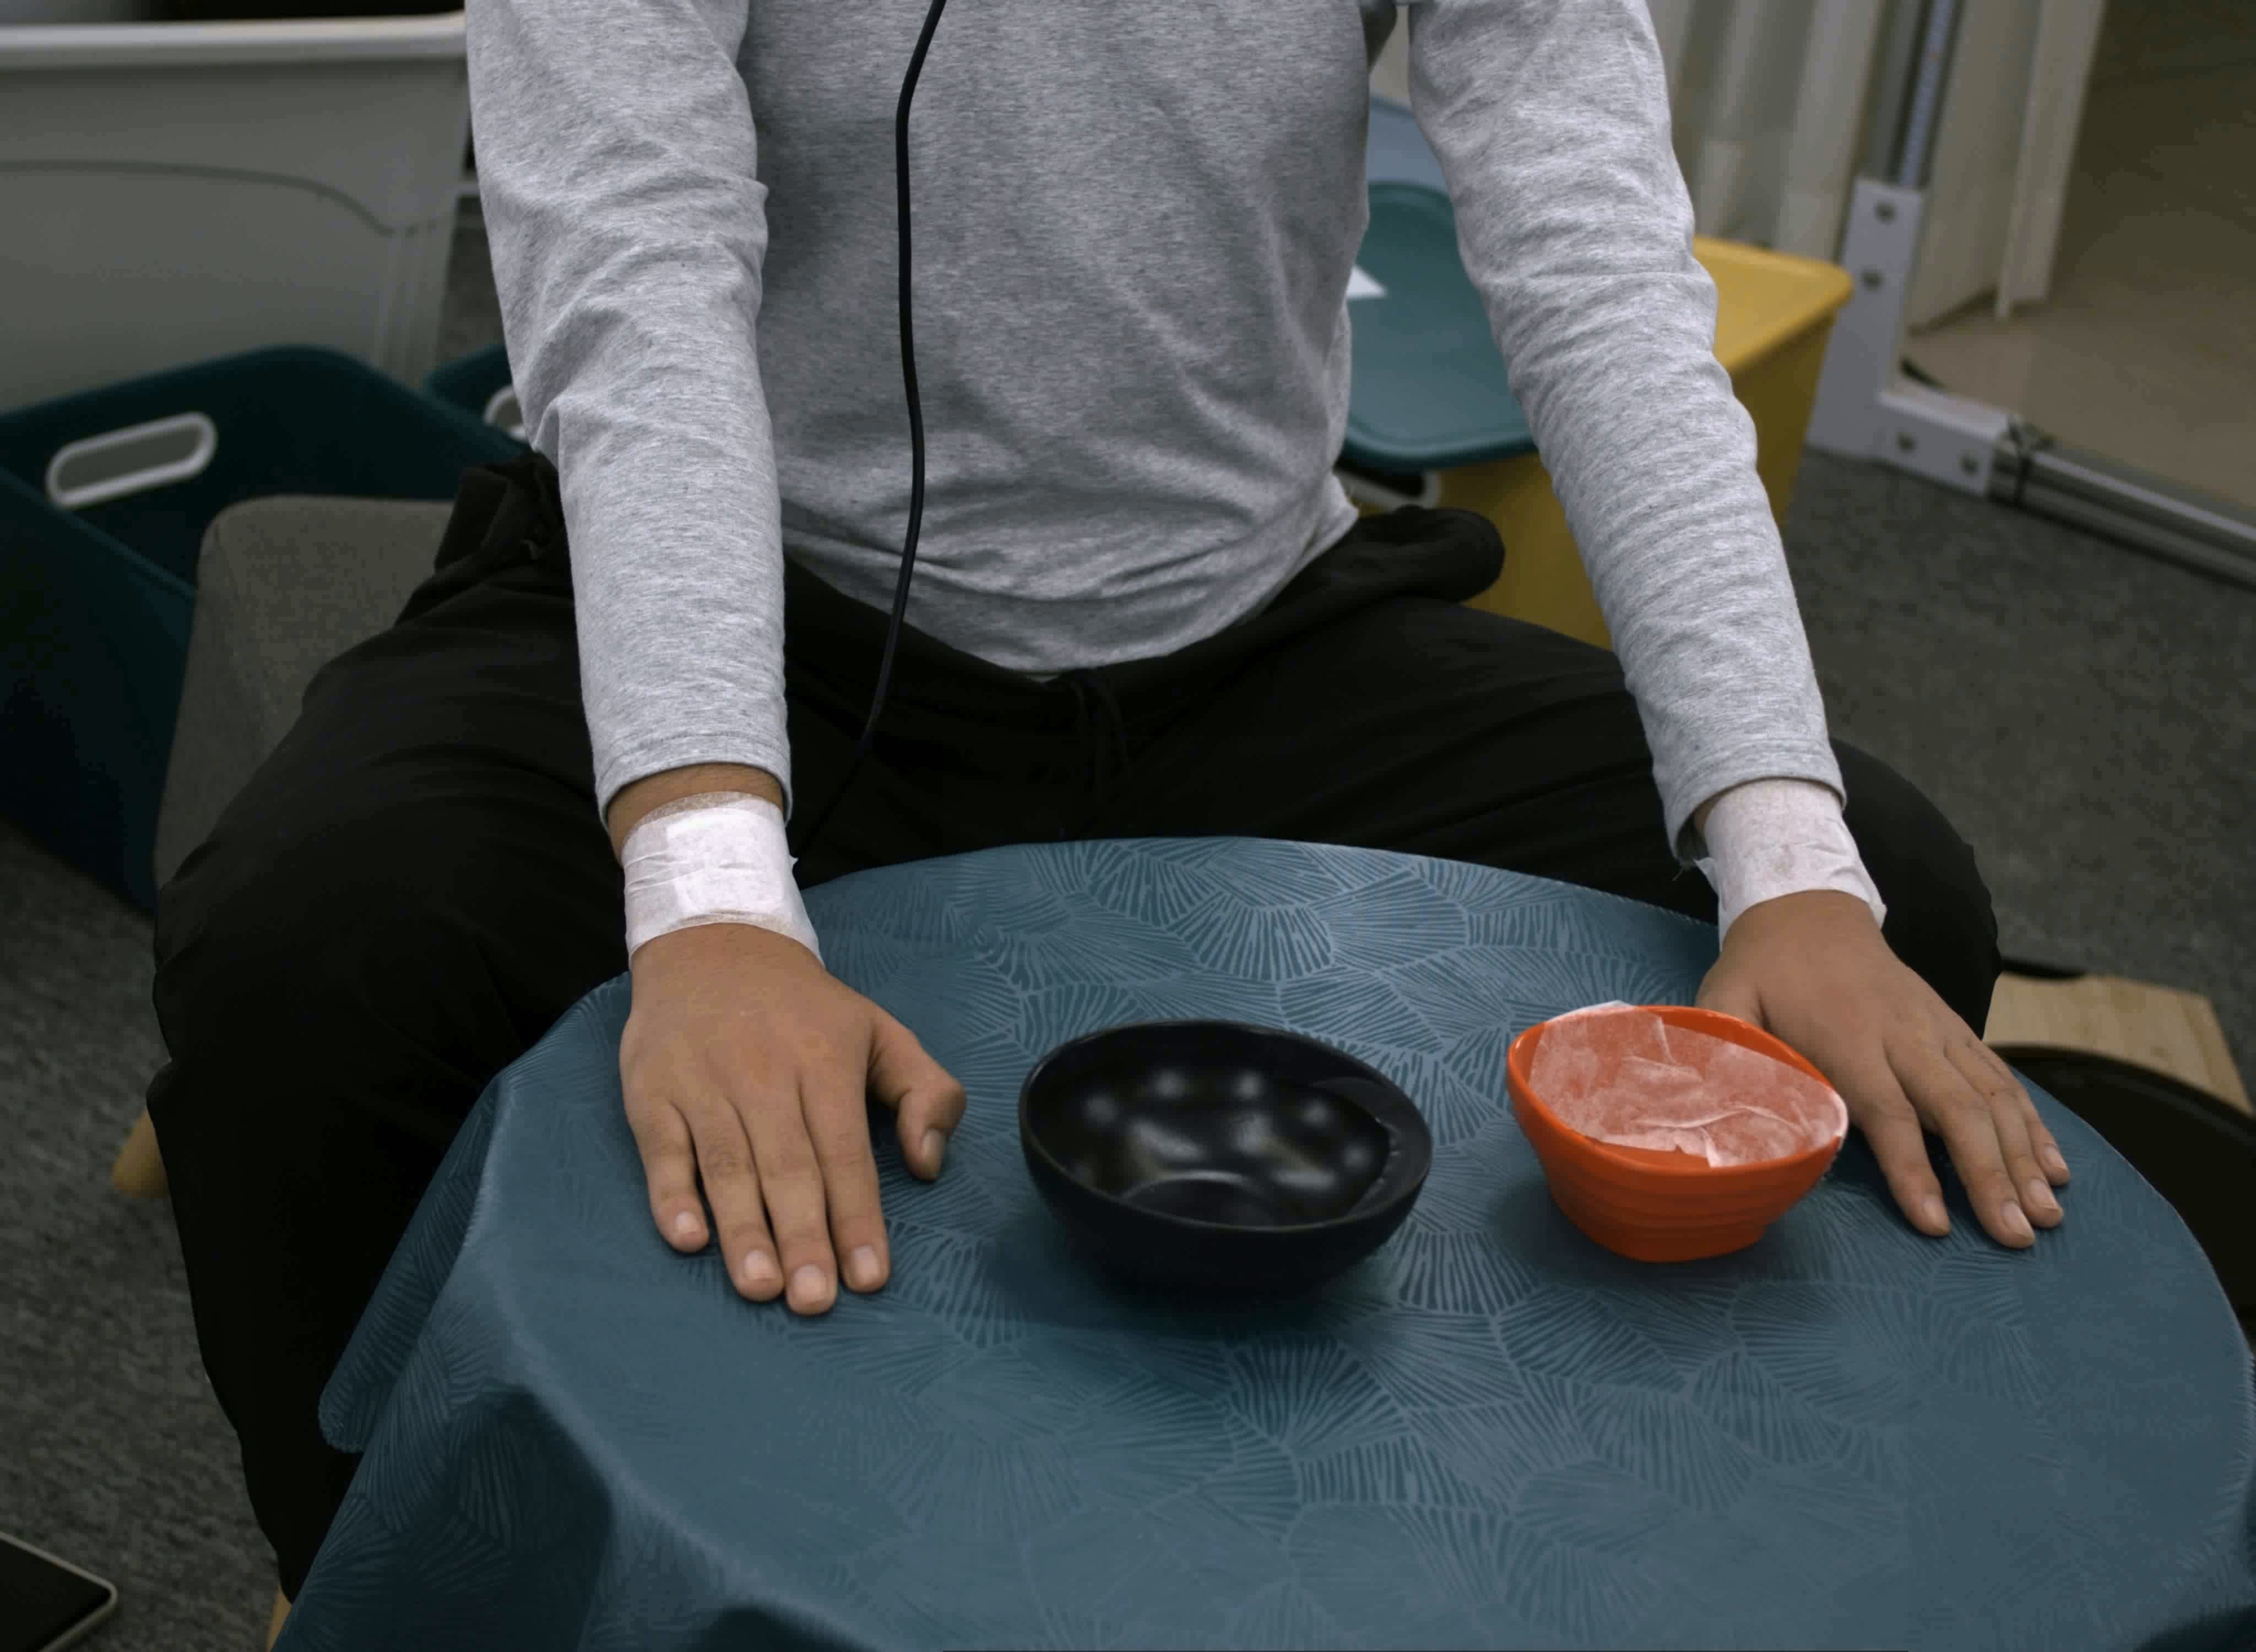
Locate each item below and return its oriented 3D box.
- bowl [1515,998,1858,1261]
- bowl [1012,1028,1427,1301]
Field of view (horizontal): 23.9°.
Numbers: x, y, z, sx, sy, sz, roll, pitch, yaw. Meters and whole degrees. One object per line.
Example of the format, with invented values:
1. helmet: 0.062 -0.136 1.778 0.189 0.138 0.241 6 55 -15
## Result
1. bowl: 0.187 0.108 1.819 0.118 0.051 0.119 5 28 -3
2. bowl: 0.028 0.120 1.770 0.139 0.049 0.141 5 24 -3
